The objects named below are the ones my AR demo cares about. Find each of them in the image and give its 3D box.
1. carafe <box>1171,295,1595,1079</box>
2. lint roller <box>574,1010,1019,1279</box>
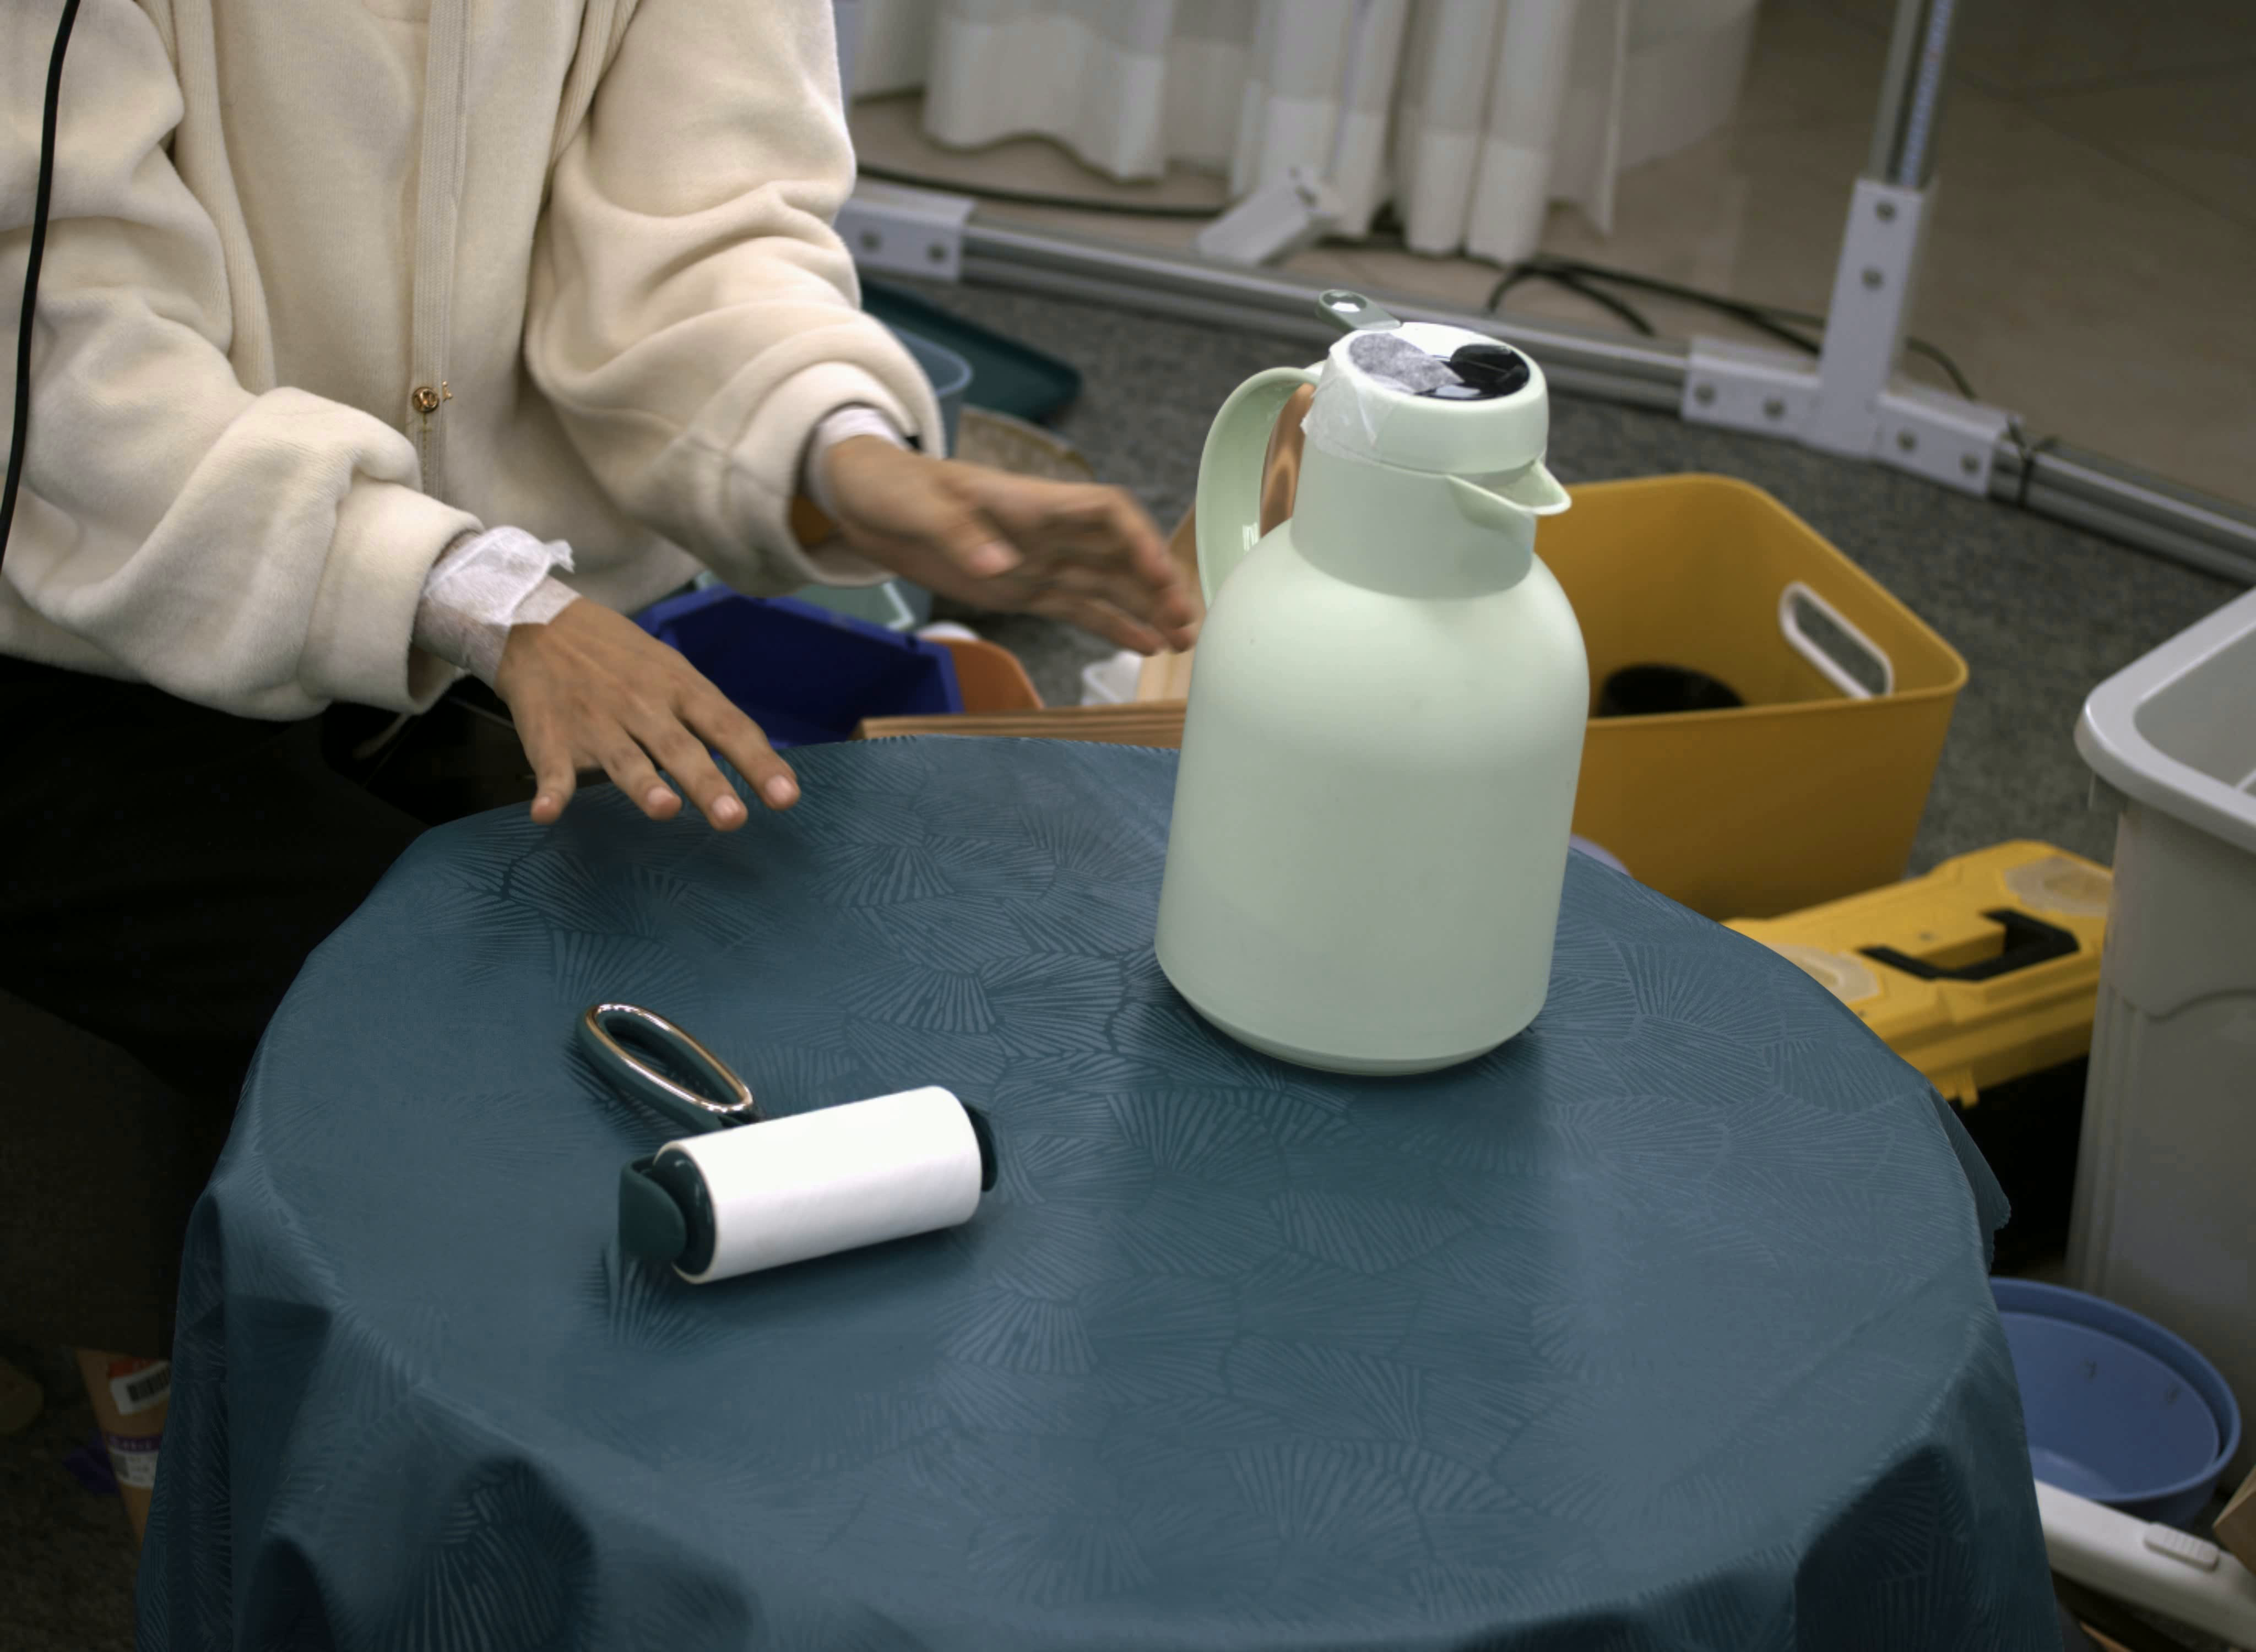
[{"bbox_3d":[0.087,-0.055,1.897,0.143,0.256,0.188,-13,29,-31],"label":"carafe"},{"bbox_3d":[-0.137,0.087,1.790,0.133,0.048,0.182,-10,31,-30],"label":"lint roller"}]
